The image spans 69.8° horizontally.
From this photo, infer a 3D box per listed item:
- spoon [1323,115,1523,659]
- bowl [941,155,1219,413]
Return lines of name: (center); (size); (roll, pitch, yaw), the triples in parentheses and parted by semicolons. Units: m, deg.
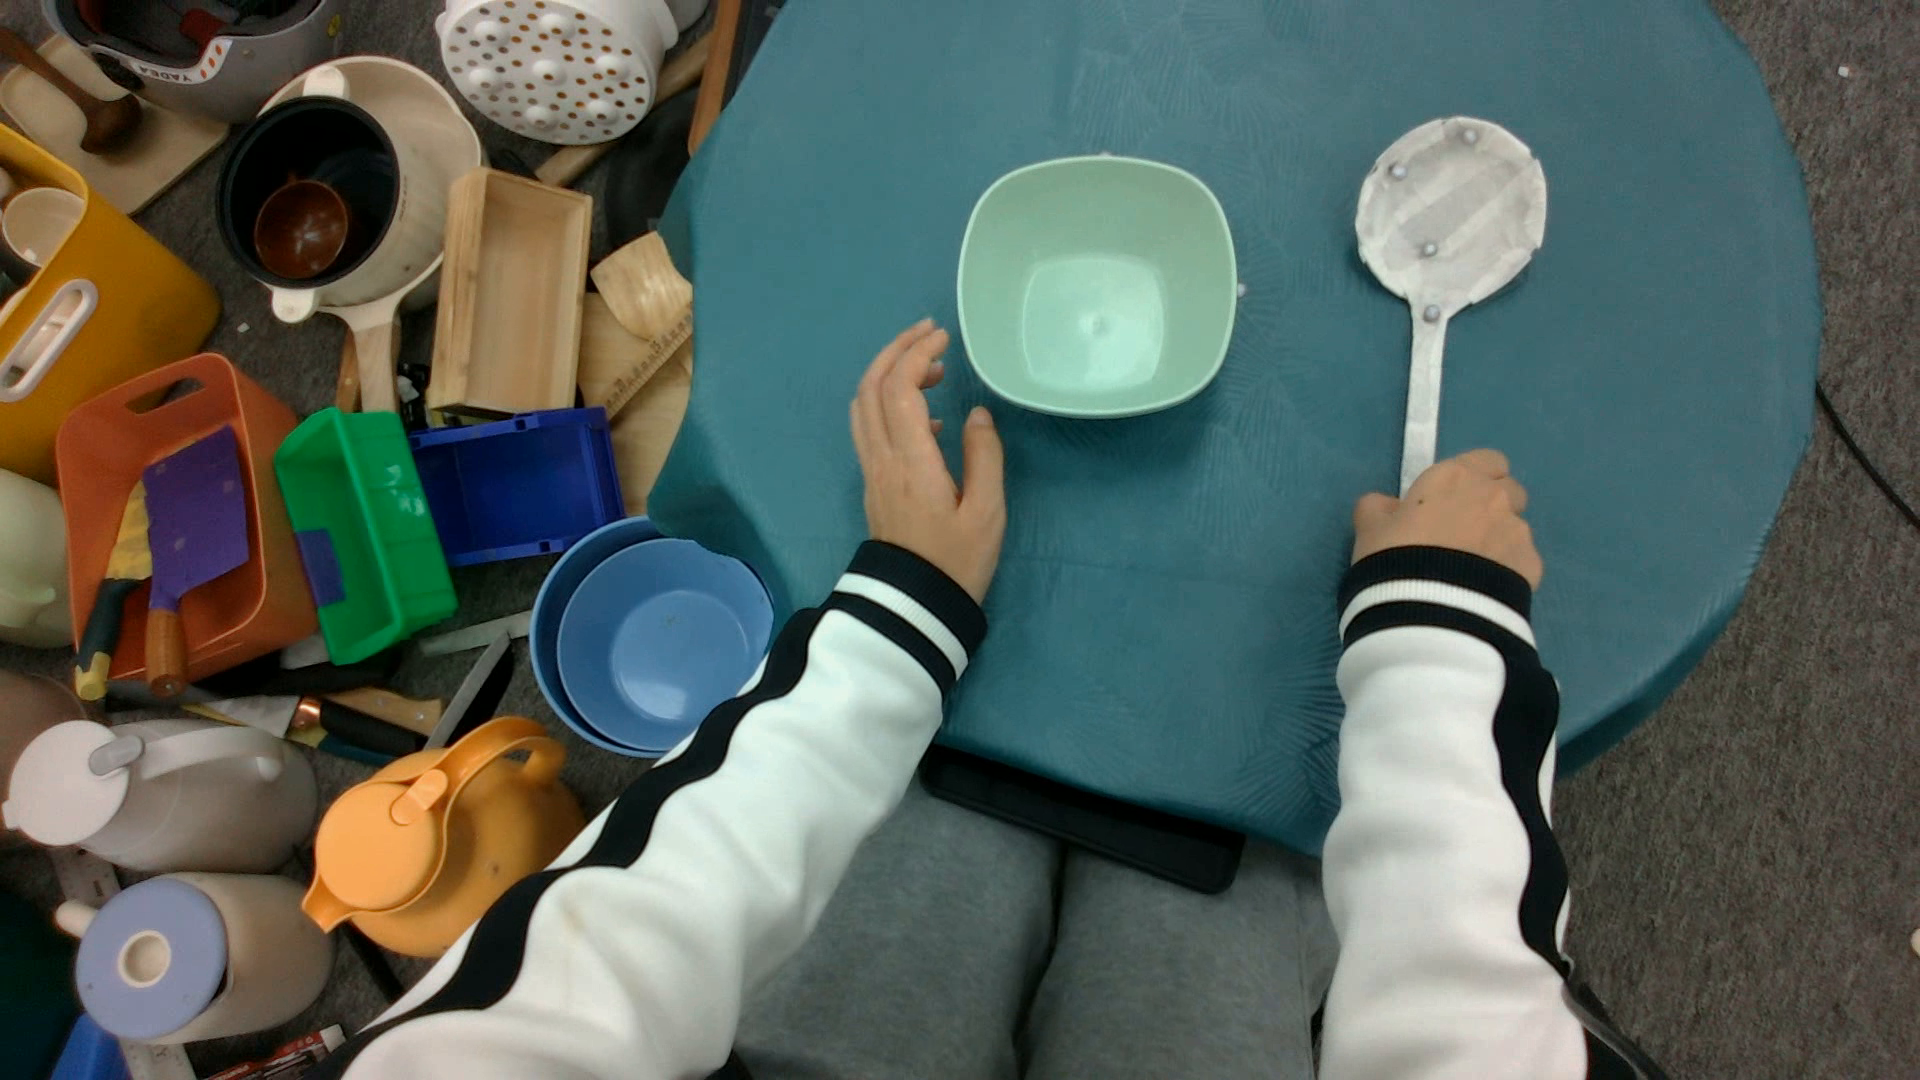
spoon: (0.218, -0.080, 0.684); (0.100, 0.059, 0.278); (10, 70, 11)
bowl: (0.061, -0.124, 0.712); (0.151, 0.058, 0.152); (-1, 75, 2)
